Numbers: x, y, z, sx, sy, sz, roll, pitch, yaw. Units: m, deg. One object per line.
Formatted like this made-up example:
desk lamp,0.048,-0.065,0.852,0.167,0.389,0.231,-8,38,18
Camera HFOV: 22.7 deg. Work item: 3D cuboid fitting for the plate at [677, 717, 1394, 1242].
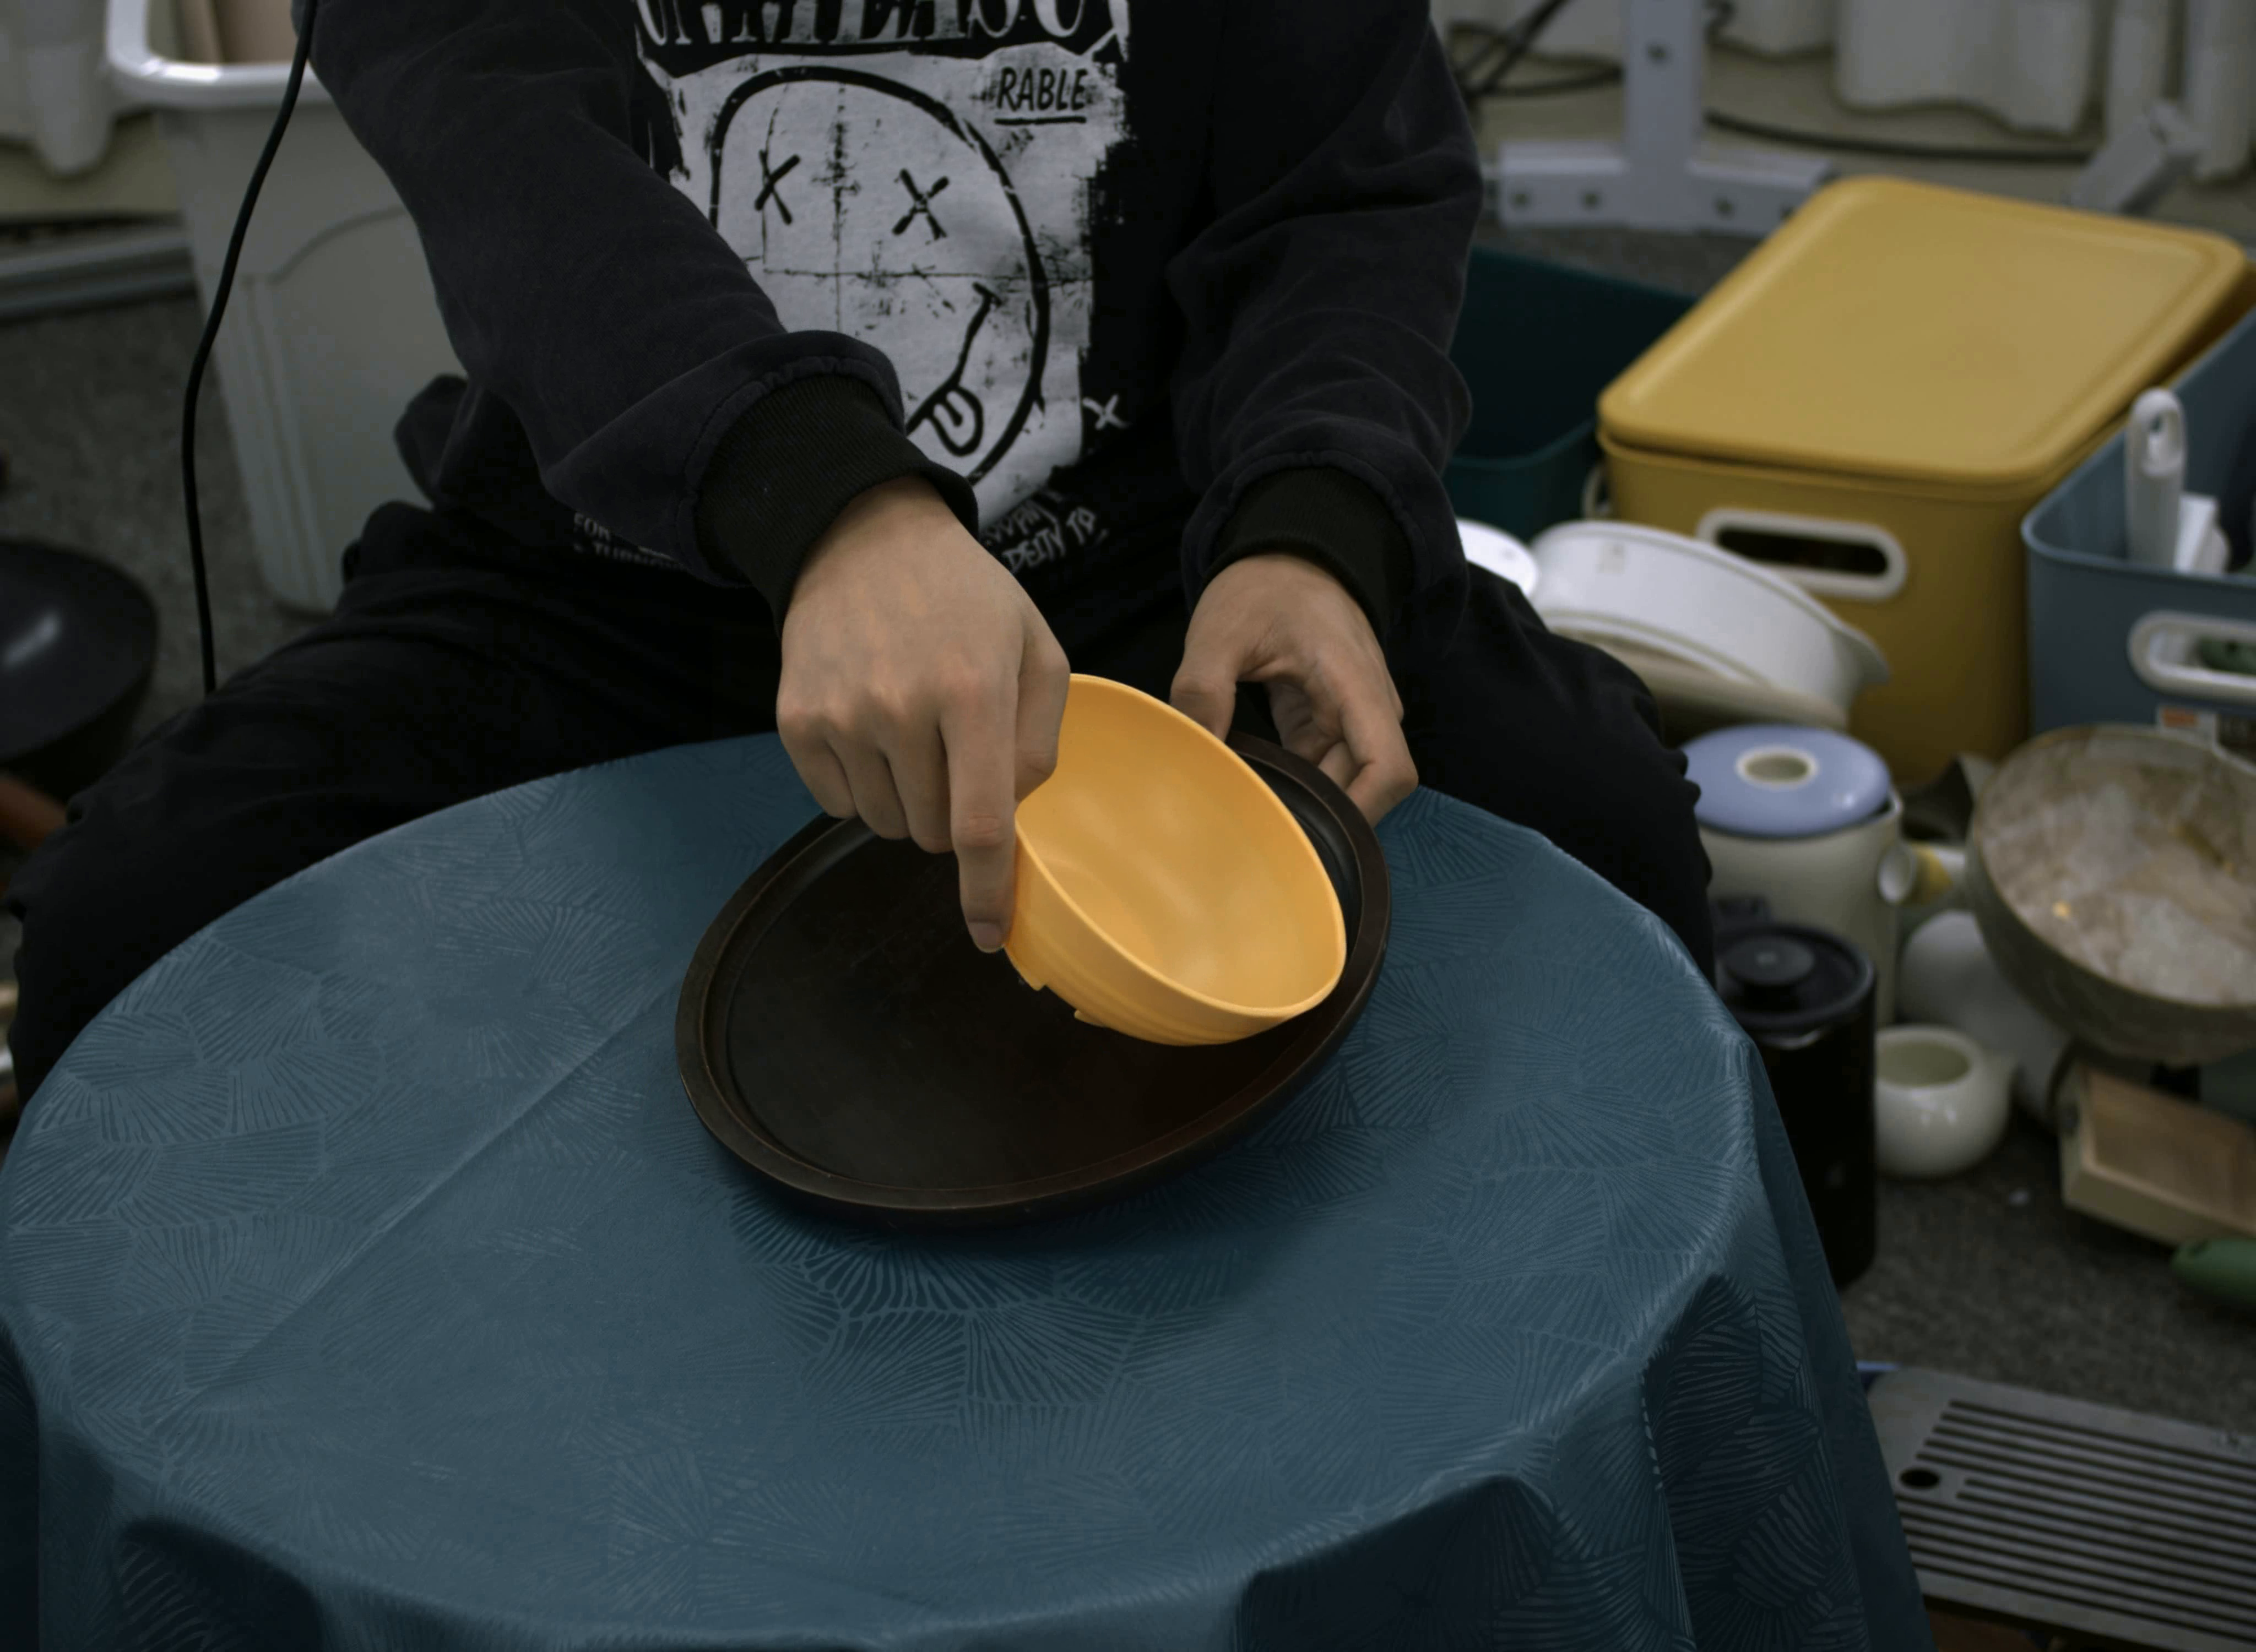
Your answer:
plate,-0.031,0.051,1.917,0.253,0.028,0.259,-12,36,9

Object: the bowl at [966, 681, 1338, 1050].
bowl,-0.004,0.025,1.851,0.145,0.059,0.148,33,28,-19
